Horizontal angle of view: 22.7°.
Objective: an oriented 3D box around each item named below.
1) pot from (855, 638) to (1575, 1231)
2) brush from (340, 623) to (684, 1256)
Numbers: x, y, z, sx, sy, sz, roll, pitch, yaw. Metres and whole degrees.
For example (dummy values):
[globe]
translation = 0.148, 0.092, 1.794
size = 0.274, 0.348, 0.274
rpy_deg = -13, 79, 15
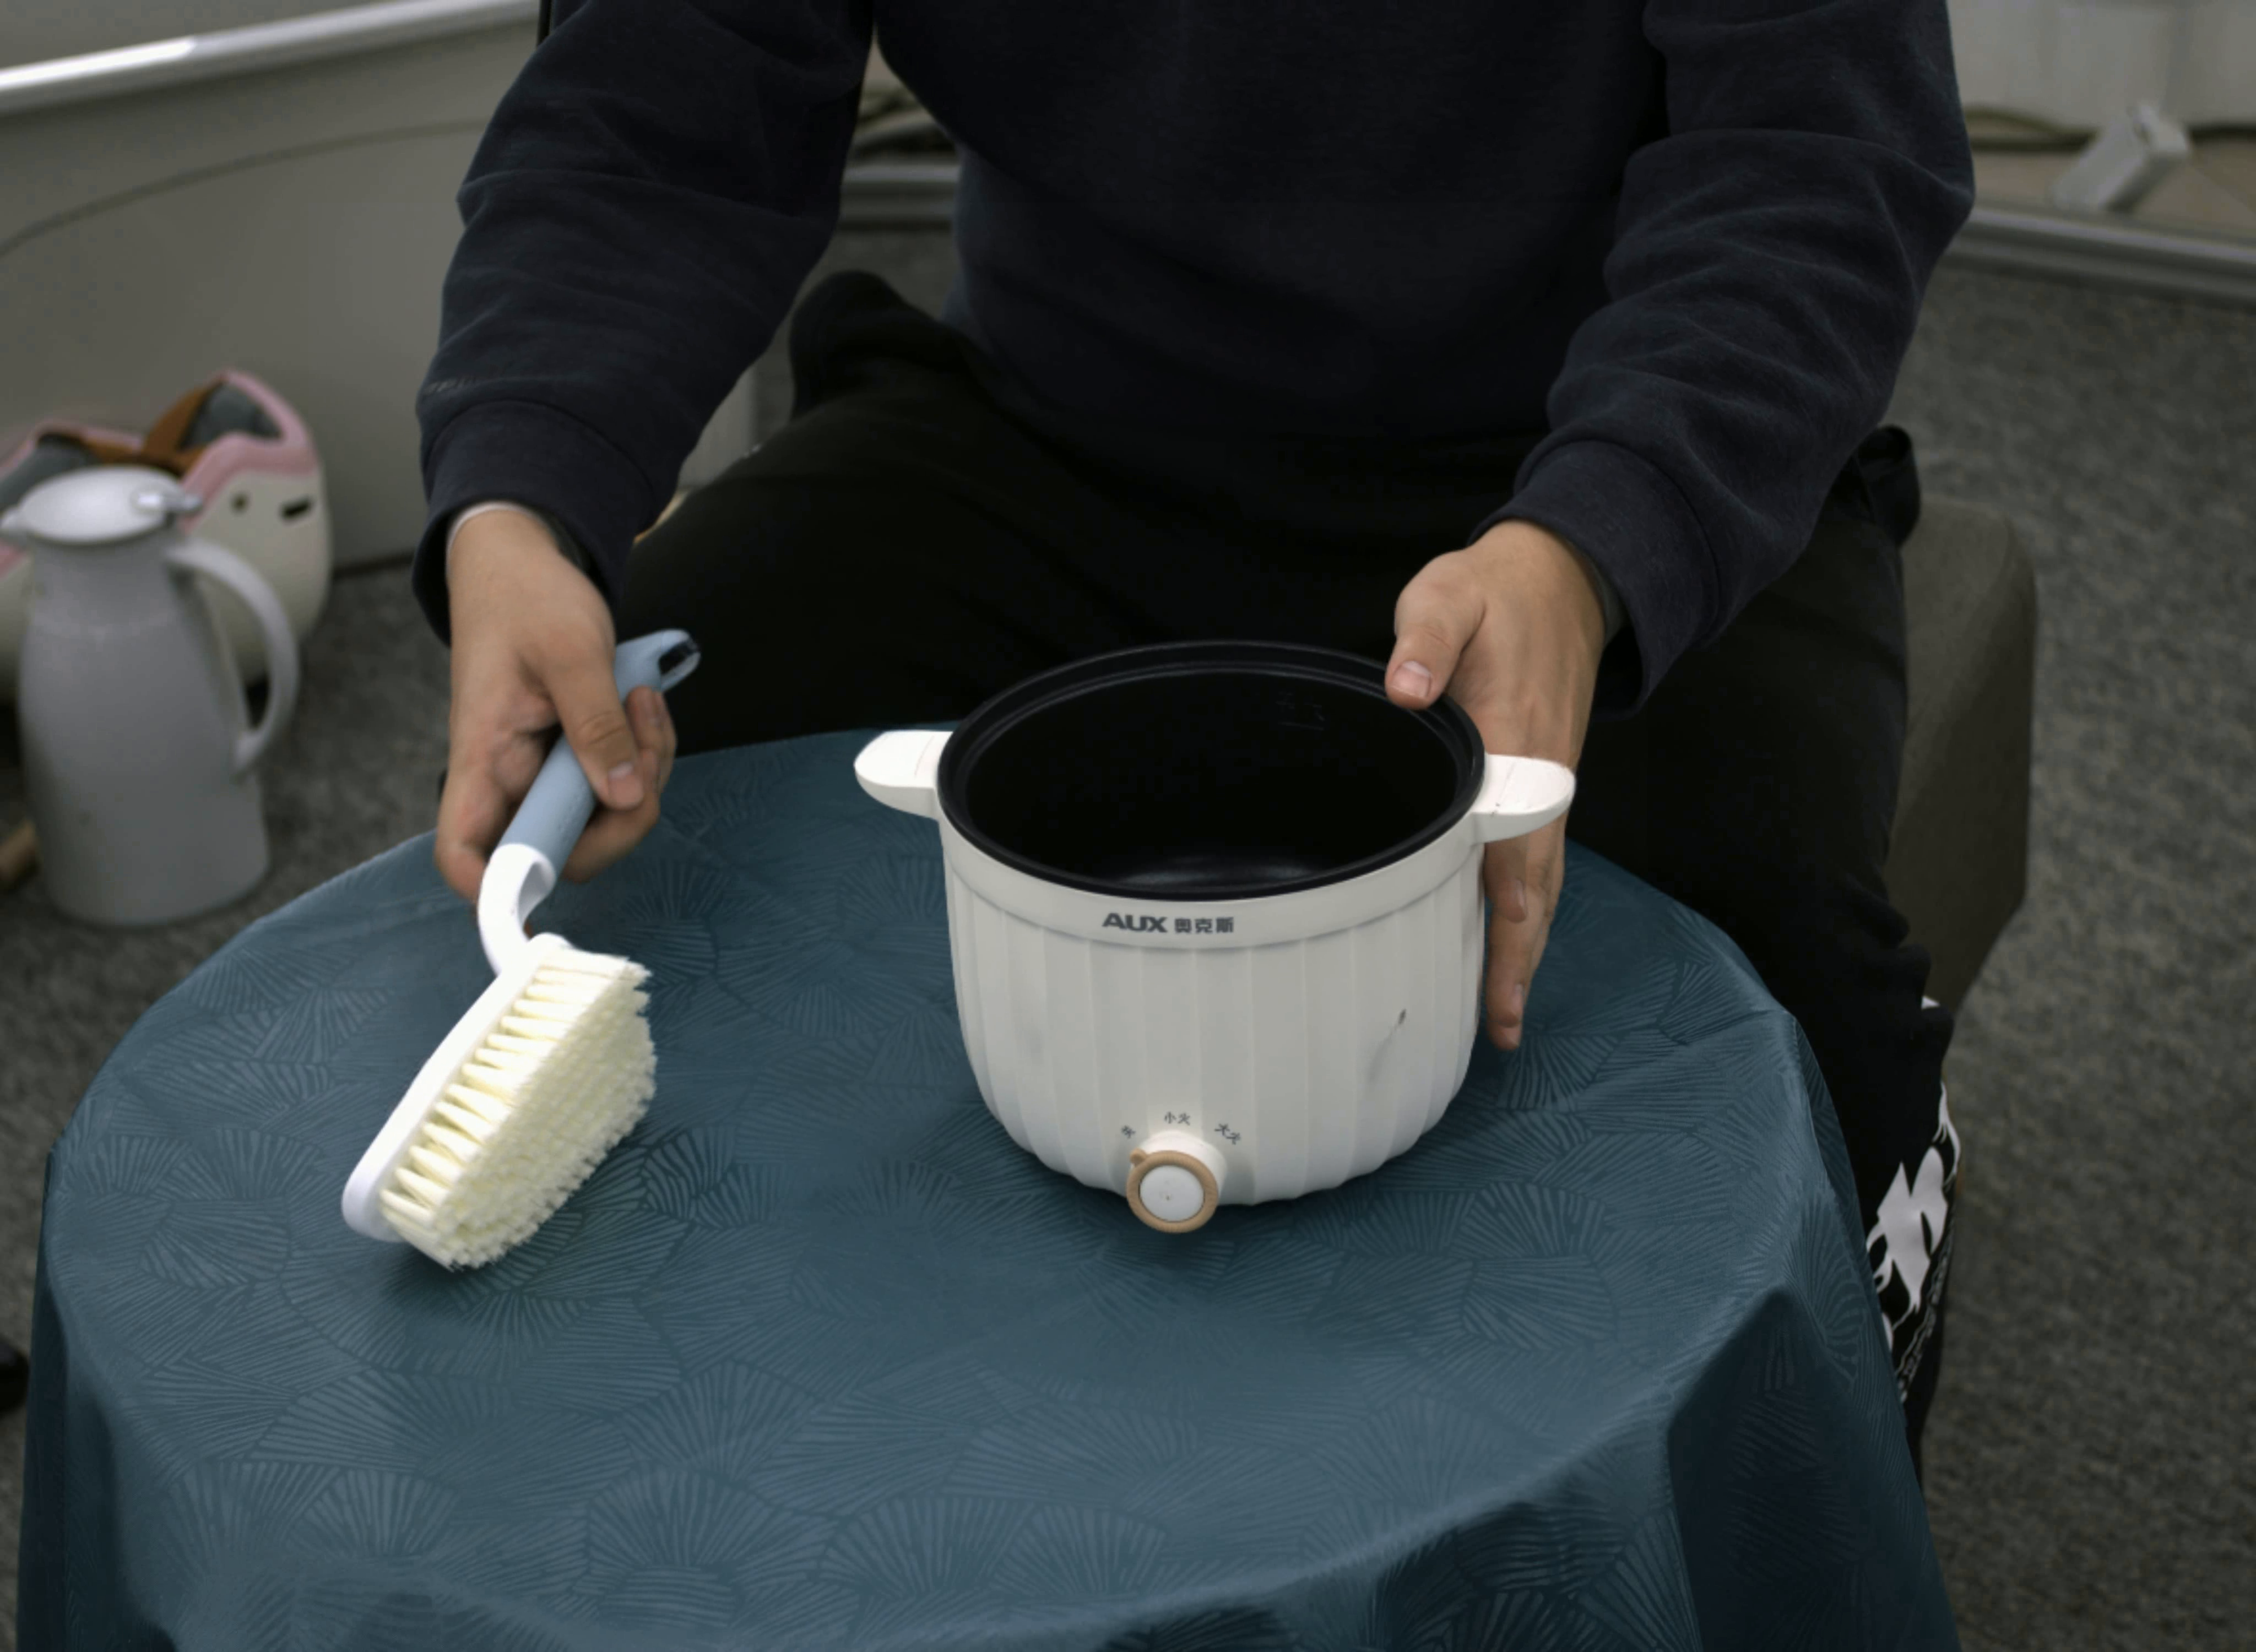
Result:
[pot]
translation = 0.030, 0.039, 1.873
size = 0.239, 0.141, 0.193
rpy_deg = 1, 24, 10
[brush]
translation = -0.180, 0.030, 1.938
size = 0.084, 0.081, 0.332
rpy_deg = 35, 39, -11
